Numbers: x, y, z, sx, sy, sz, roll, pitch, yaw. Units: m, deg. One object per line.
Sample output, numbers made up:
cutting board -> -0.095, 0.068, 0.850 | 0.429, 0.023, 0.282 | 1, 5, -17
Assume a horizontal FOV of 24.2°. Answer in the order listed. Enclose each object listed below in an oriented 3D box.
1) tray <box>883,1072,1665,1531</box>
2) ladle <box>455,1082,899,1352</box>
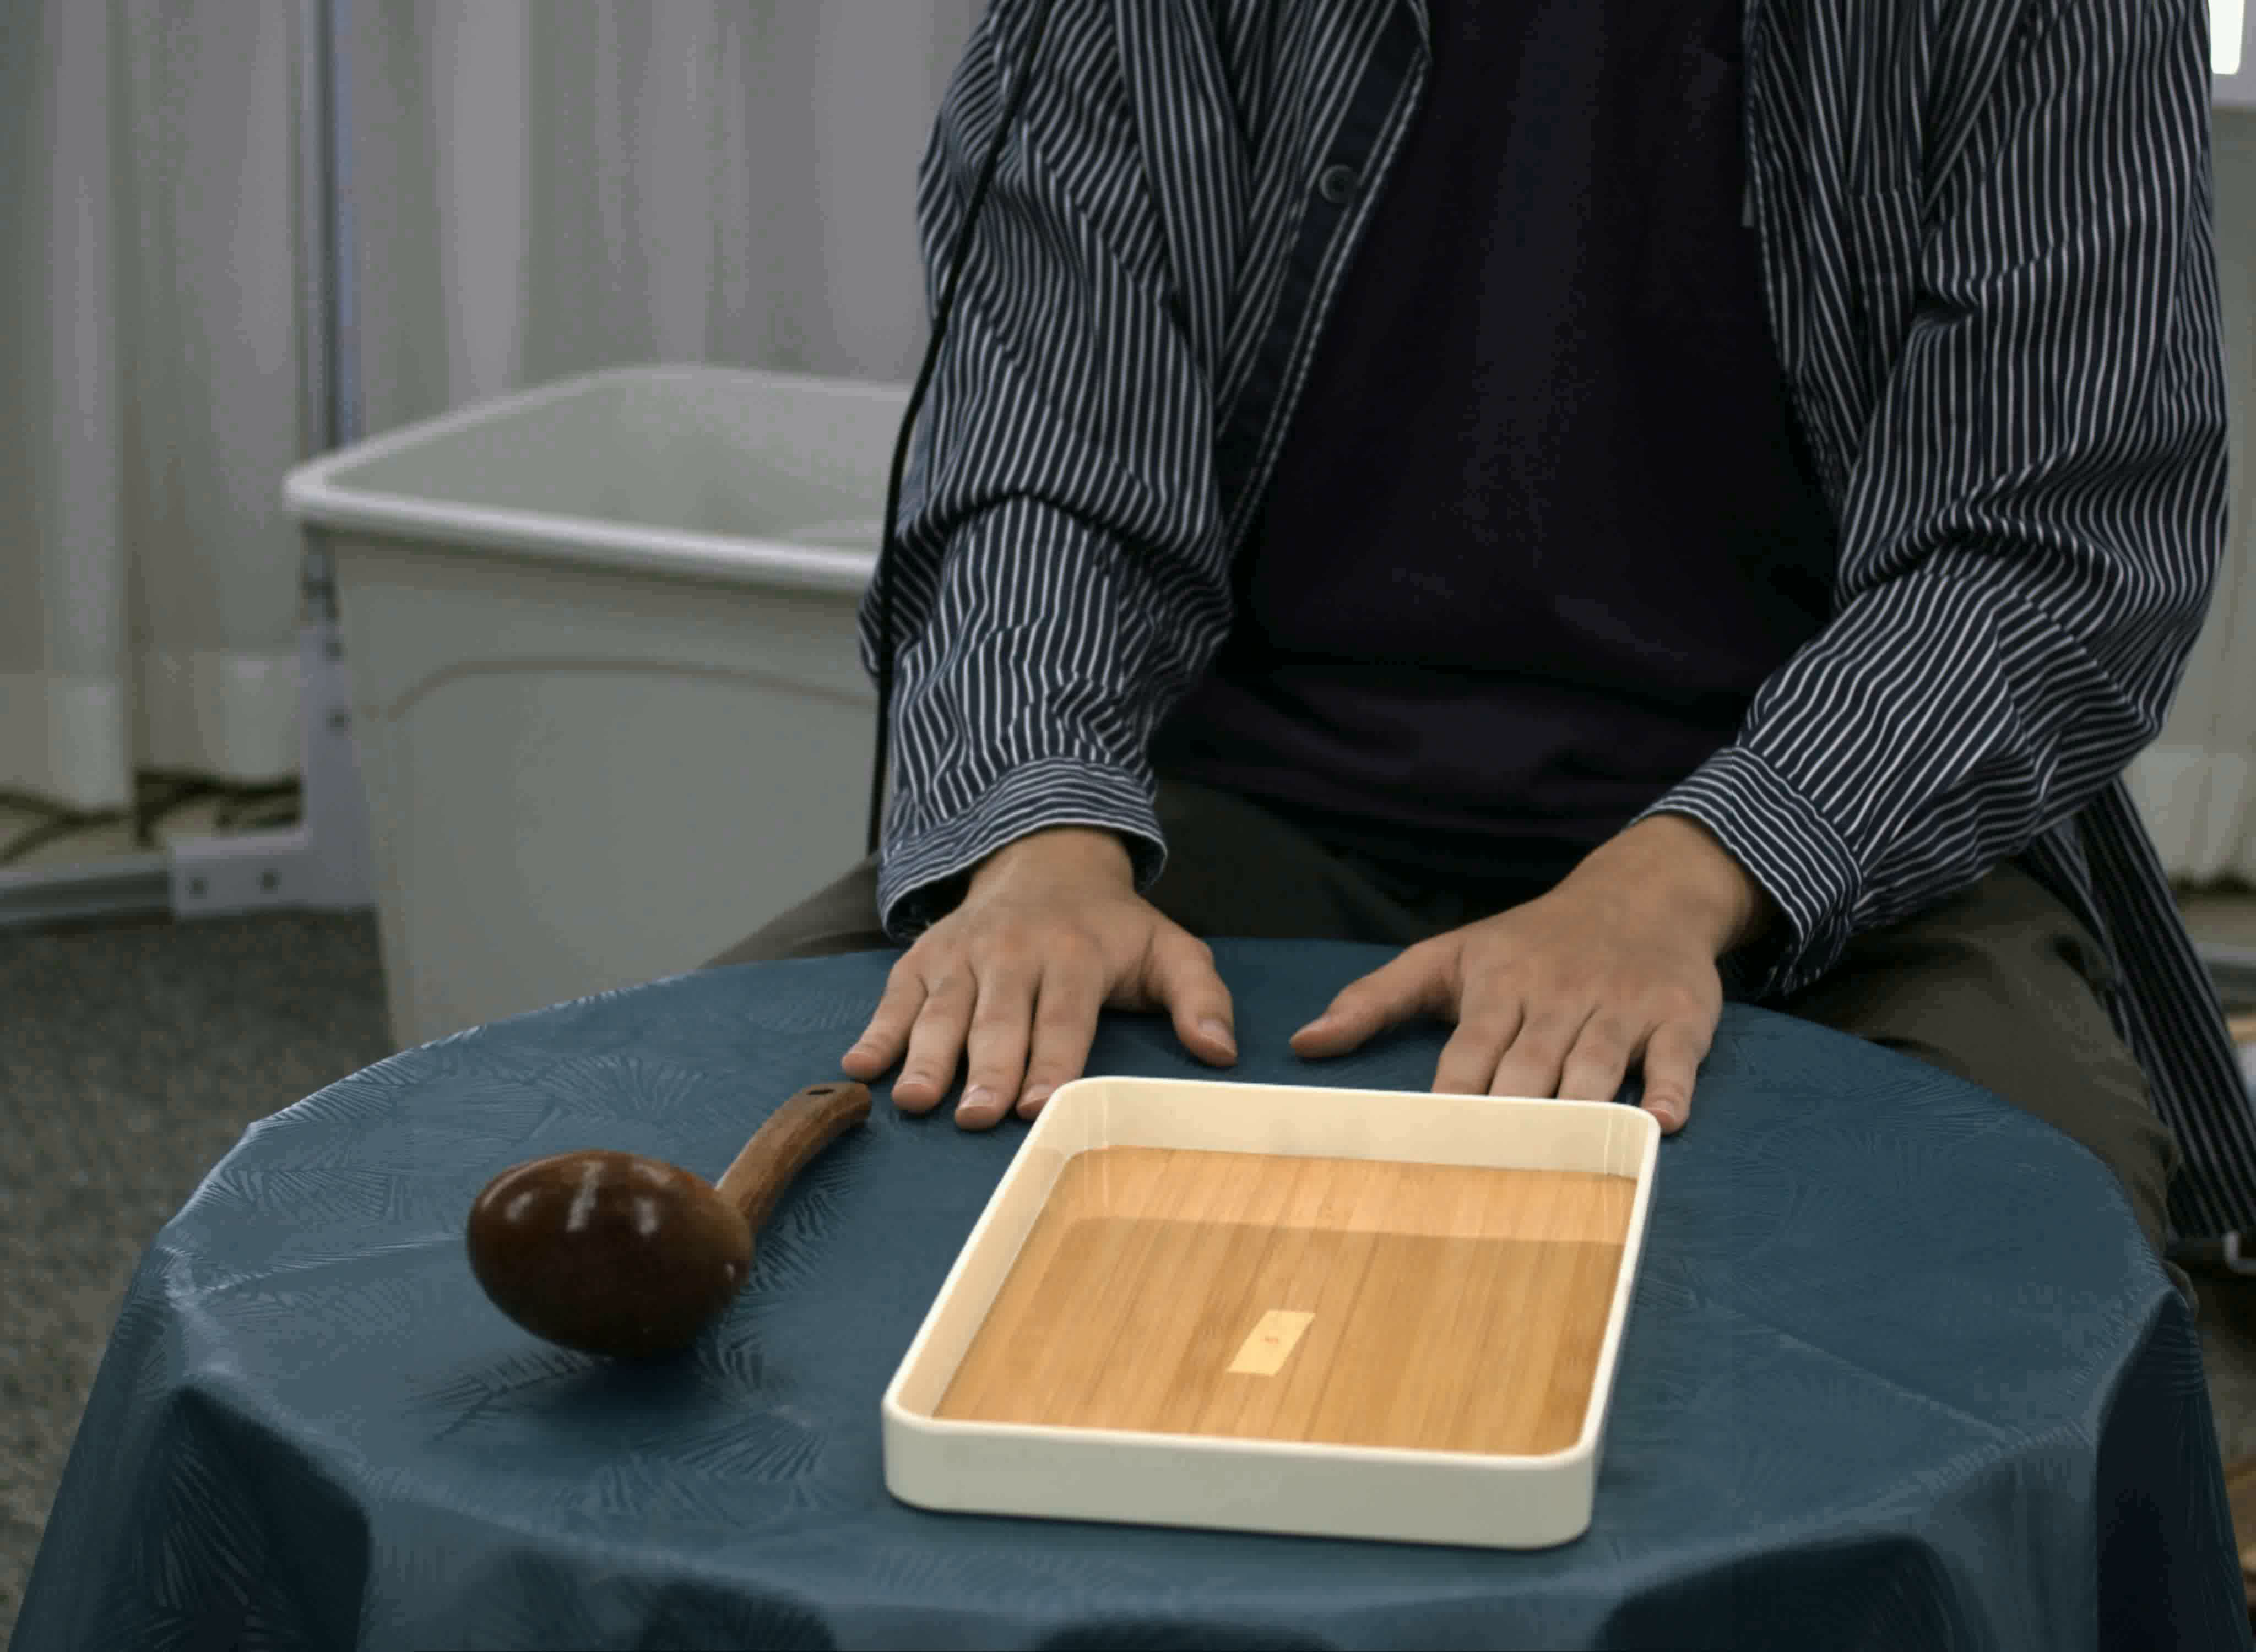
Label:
tray -> 0.050, 0.131, 1.515 | 0.190, 0.027, 0.299 | 3, 15, 9
ladle -> -0.122, 0.091, 1.558 | 0.081, 0.077, 0.274 | 0, 15, 14
